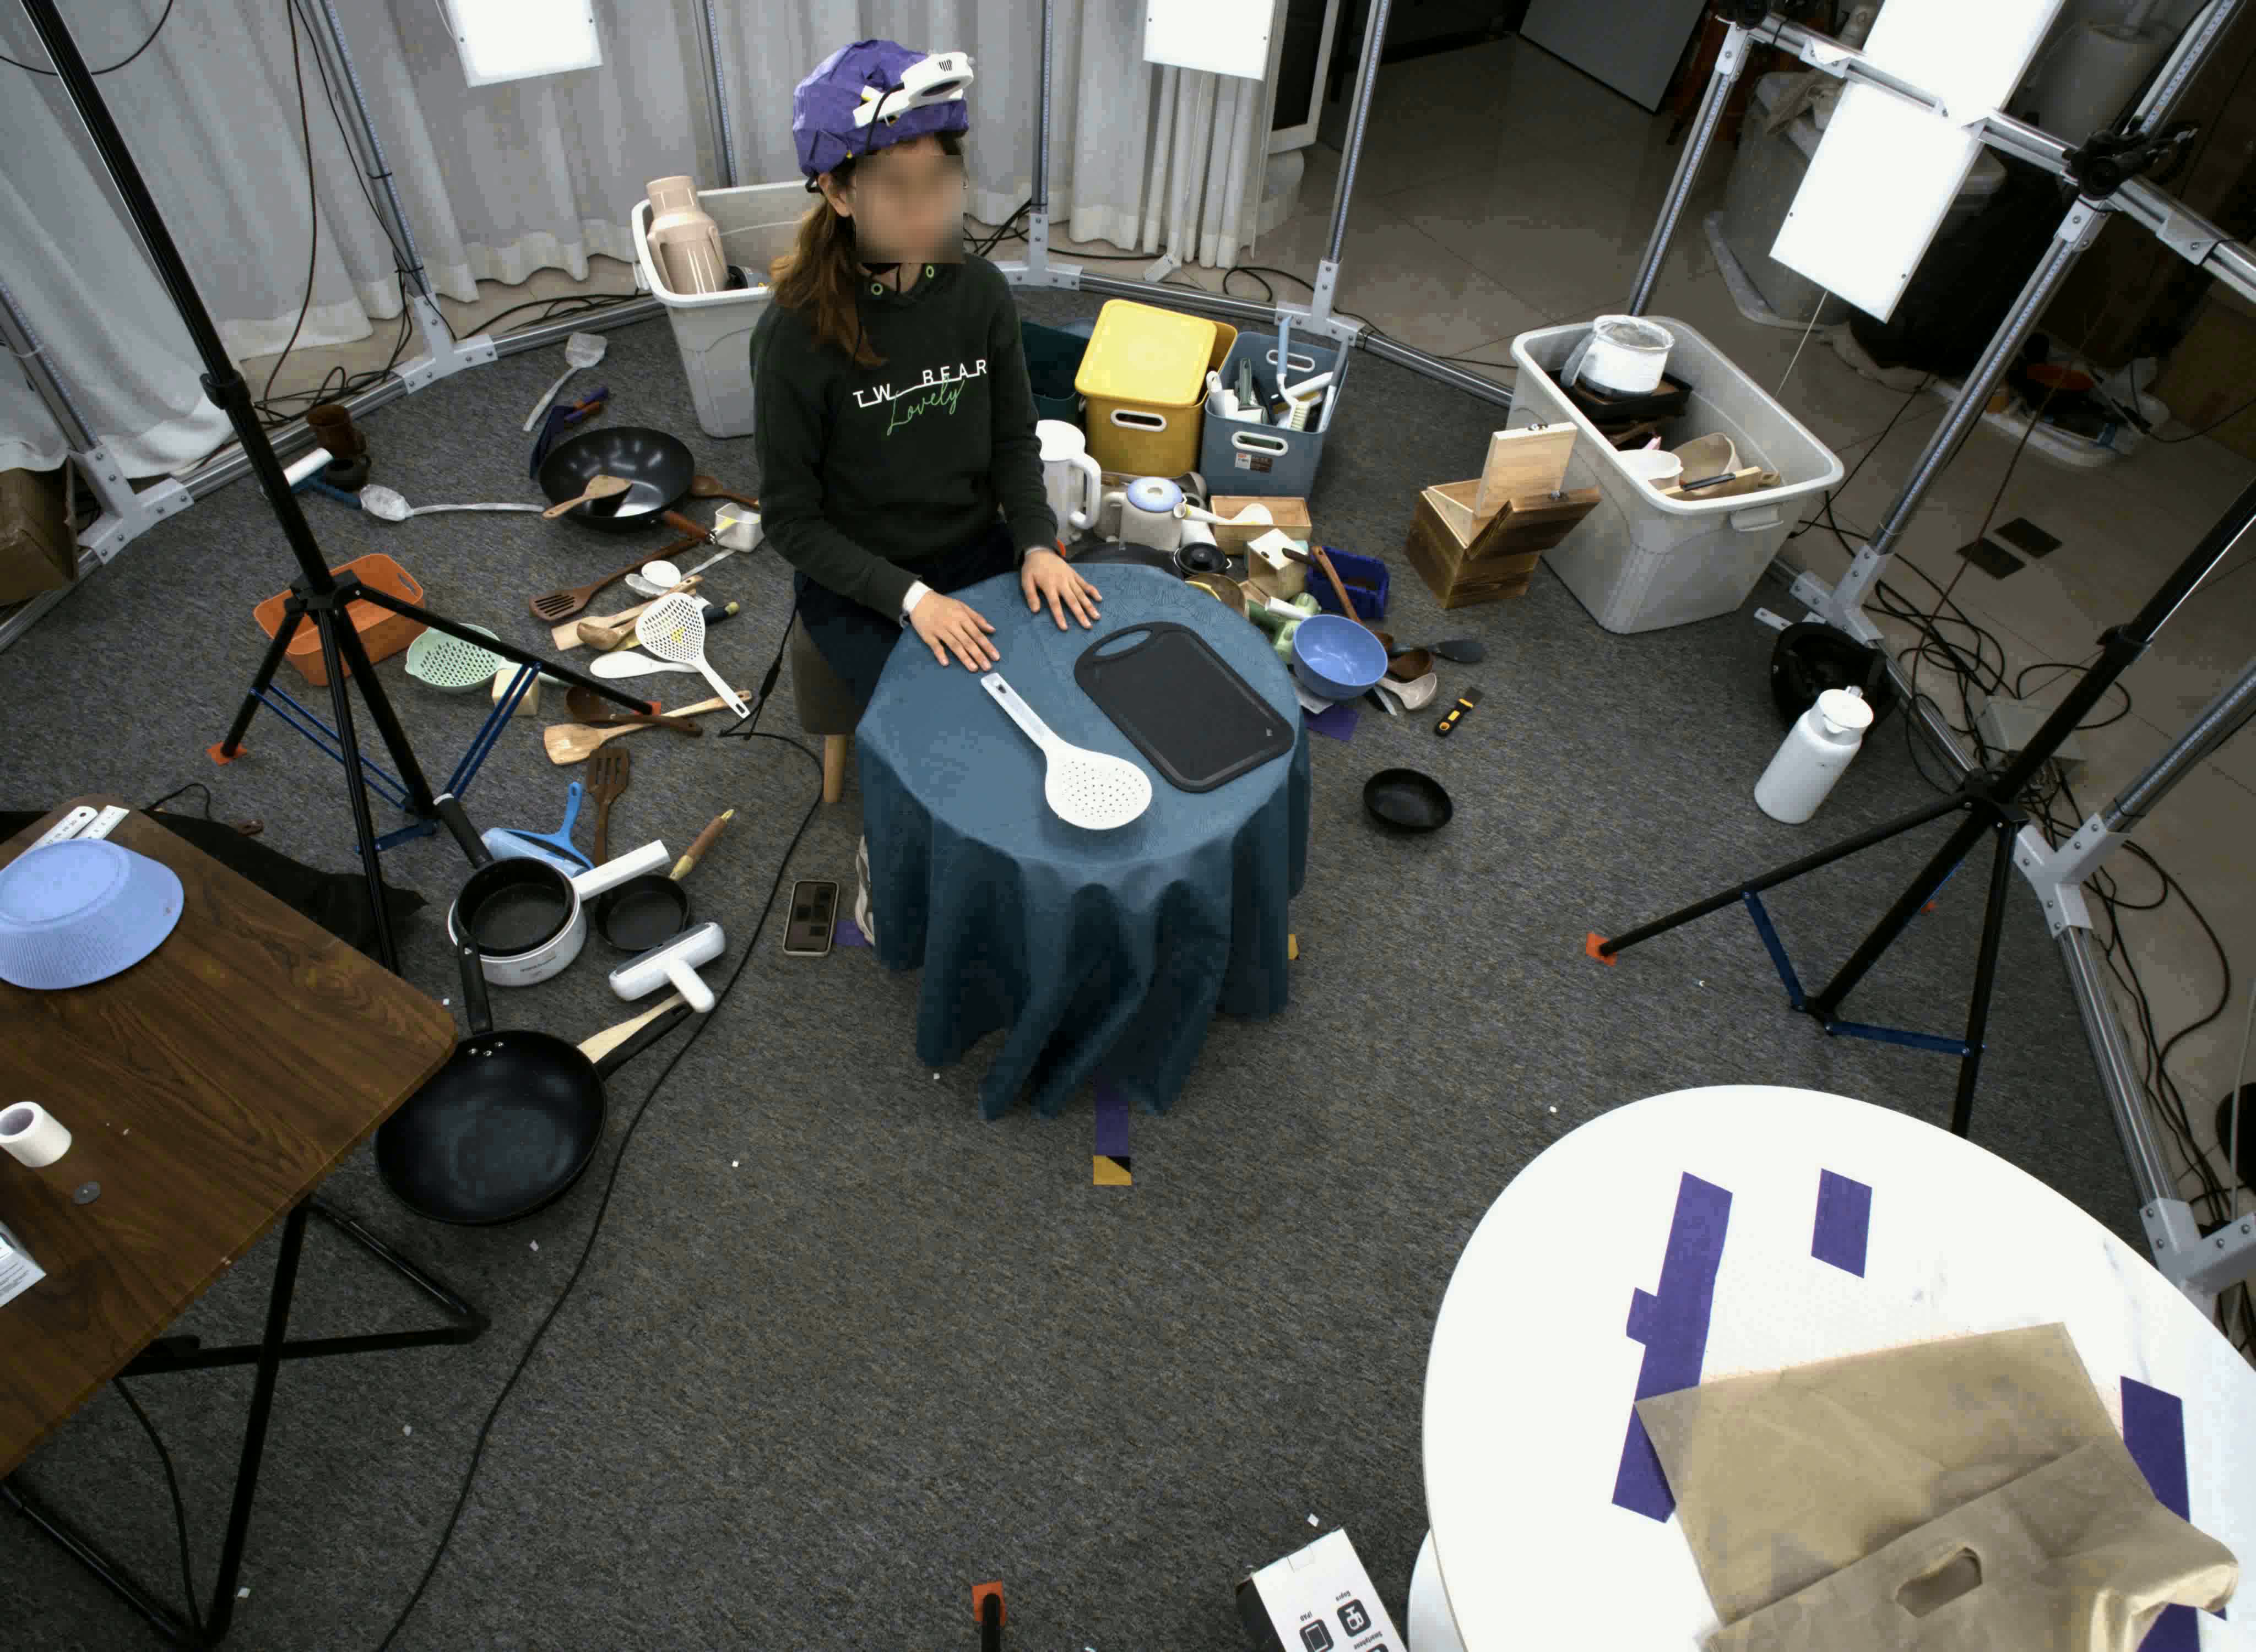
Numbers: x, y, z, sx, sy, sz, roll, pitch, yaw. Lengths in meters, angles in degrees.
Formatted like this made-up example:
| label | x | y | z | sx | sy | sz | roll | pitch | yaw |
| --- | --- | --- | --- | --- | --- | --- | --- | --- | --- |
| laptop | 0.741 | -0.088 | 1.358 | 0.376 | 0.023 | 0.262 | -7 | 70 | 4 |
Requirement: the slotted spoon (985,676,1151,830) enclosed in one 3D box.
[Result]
| label | x | y | z | sx | sy | sz | roll | pitch | yaw |
| --- | --- | --- | --- | --- | --- | --- | --- | --- | --- |
| slotted spoon | -0.098 | -0.105 | 1.739 | 0.136 | 0.044 | 0.357 | -23 | 53 | -25 |

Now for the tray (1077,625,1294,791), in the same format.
| label | x | y | z | sx | sy | sz | roll | pitch | yaw |
| --- | --- | --- | --- | --- | --- | --- | --- | --- | --- |
| tray | 0.075 | -0.181 | 1.843 | 0.212 | 0.009 | 0.332 | -25 | 55 | -24 |
